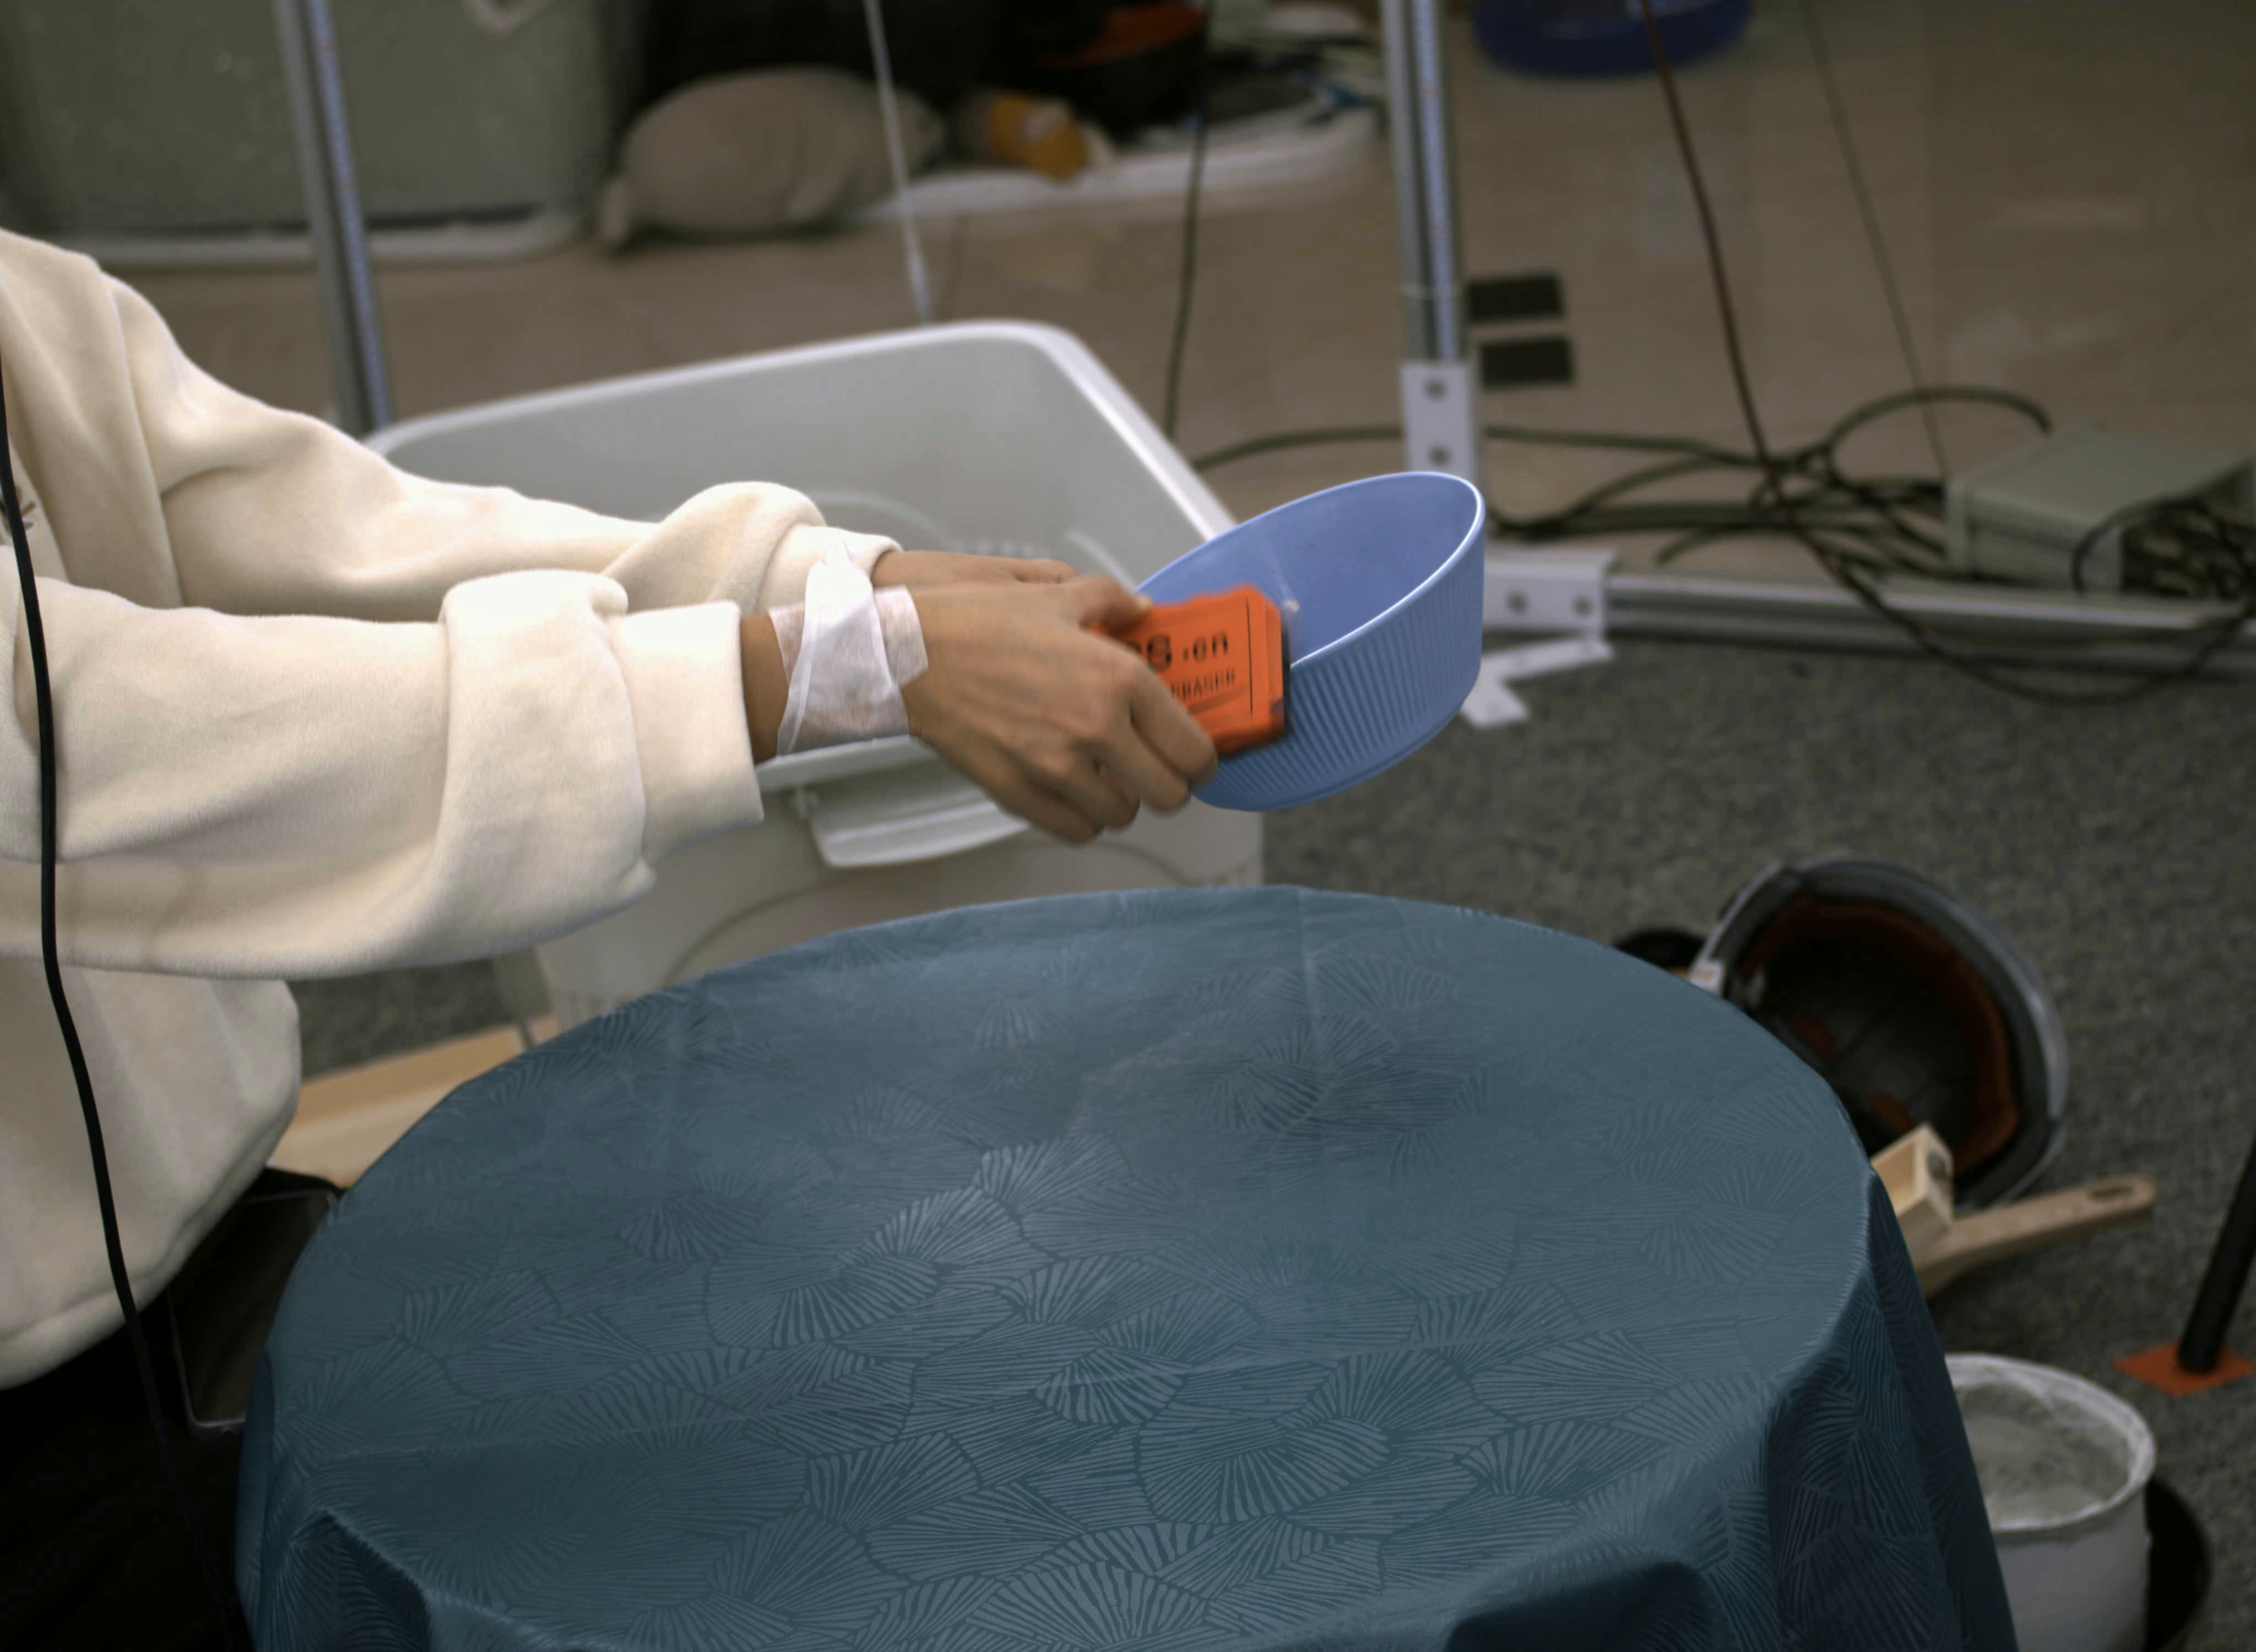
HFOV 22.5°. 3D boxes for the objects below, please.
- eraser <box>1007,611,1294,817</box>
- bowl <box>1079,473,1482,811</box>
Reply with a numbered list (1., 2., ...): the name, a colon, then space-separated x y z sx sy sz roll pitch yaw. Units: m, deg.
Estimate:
1. eraser: 0.008 -0.041 2.057 0.108 0.058 0.023 -11 -20 27
2. bowl: 0.067 -0.063 2.170 0.176 0.071 0.173 -23 21 10
